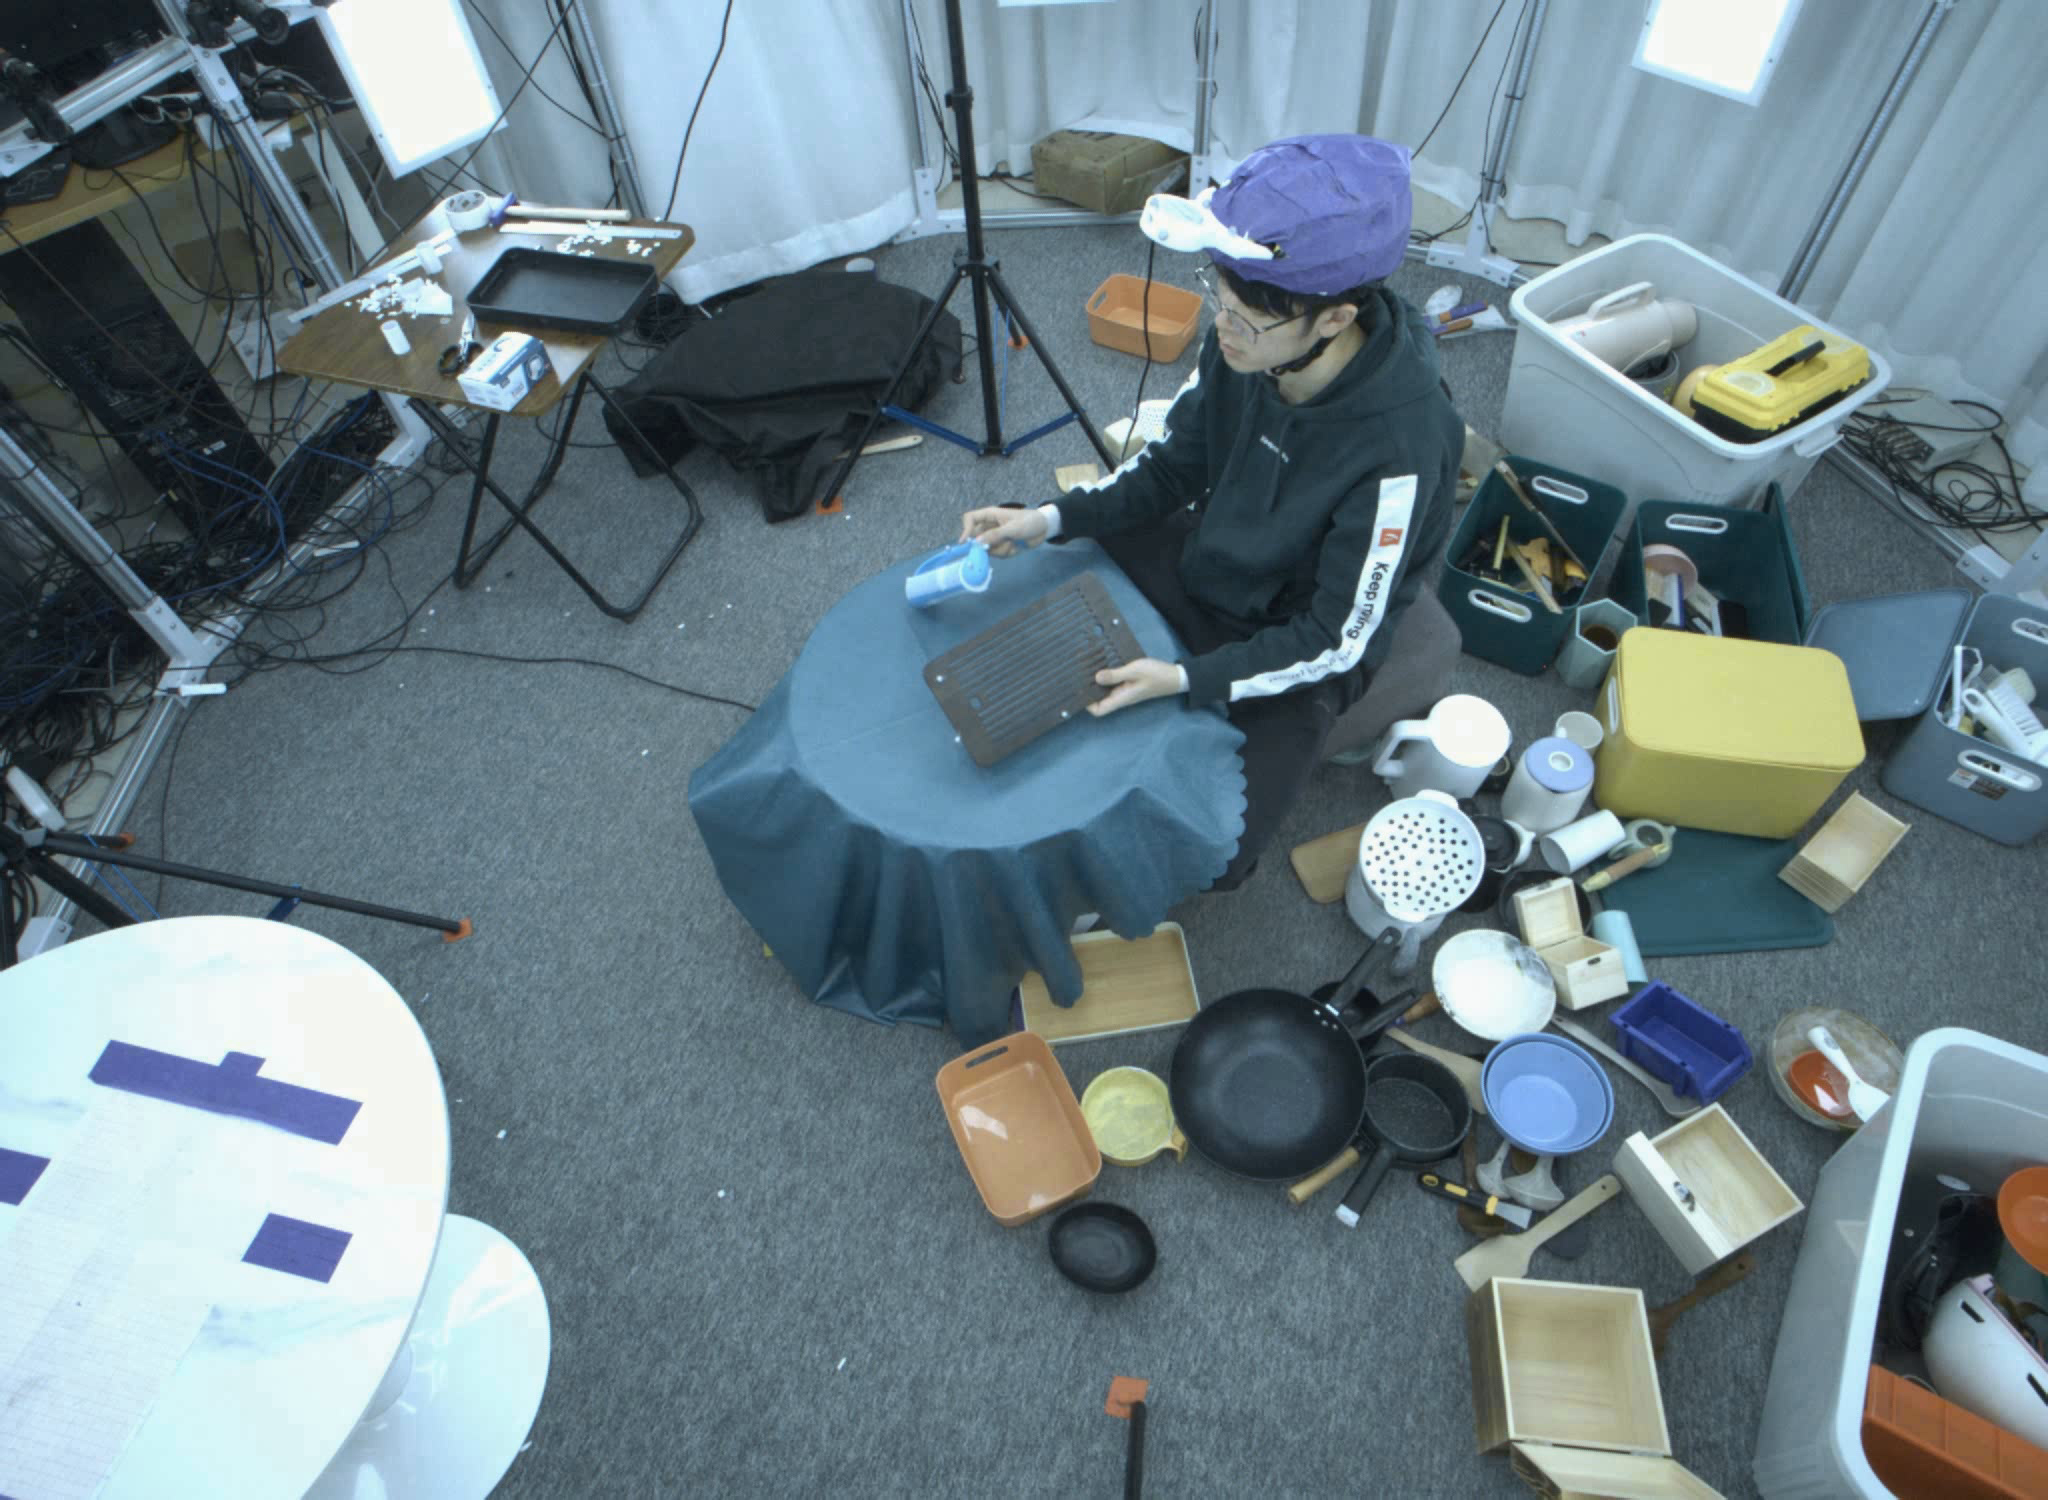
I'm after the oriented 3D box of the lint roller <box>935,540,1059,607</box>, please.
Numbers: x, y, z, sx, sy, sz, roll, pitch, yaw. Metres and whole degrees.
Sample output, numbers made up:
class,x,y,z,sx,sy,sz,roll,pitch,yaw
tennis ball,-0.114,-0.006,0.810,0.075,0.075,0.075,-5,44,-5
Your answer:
class,x,y,z,sx,sy,sz,roll,pitch,yaw
lint roller,-0.030,-0.287,1.878,0.181,0.224,0.068,-39,108,-25

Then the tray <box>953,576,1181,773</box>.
class,x,y,z,sx,sy,sz,roll,pitch,yaw
tray,0.063,-0.110,1.754,0.308,0.018,0.170,-31,93,-17
